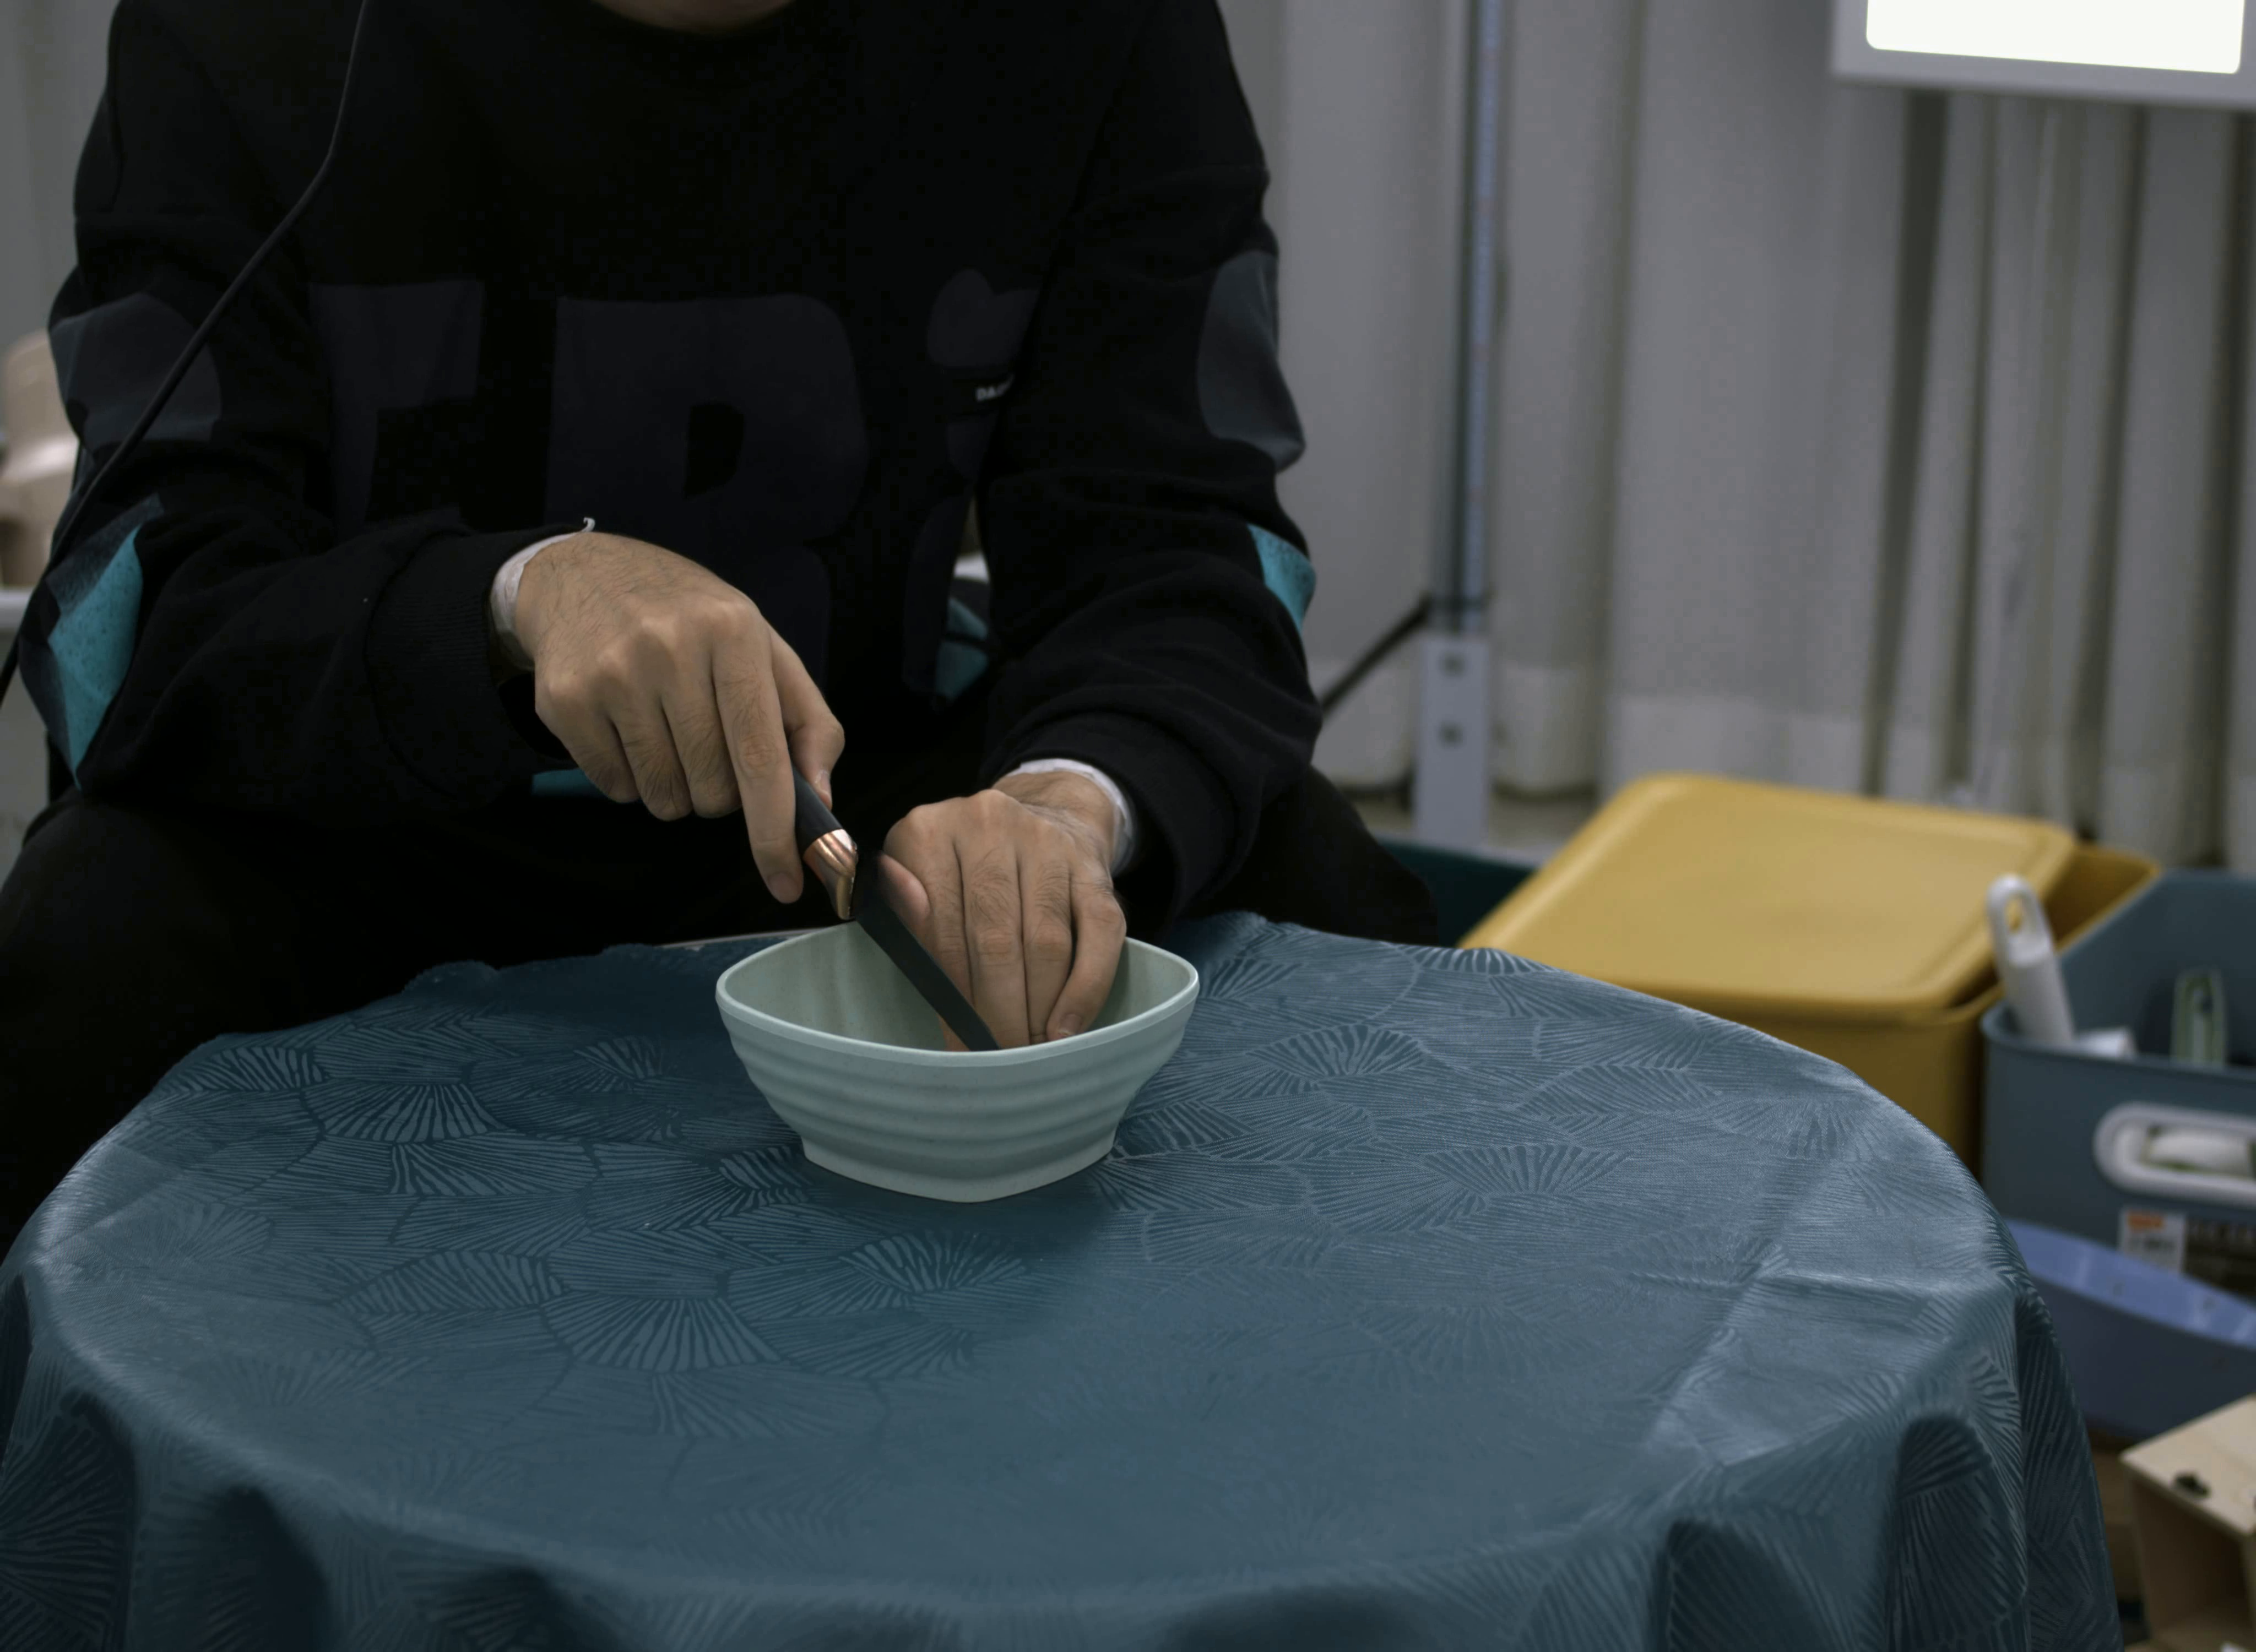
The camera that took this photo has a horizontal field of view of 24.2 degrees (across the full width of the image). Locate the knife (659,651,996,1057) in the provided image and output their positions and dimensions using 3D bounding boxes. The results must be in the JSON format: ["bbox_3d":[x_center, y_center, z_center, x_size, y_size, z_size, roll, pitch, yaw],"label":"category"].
[{"bbox_3d":[-0.087,0.022,1.674,0.017,0.026,0.223,-19,55,-33],"label":"knife"}]

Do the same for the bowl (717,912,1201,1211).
[{"bbox_3d":[-0.052,0.077,1.649,0.151,0.059,0.150,0,17,1],"label":"bowl"}]
